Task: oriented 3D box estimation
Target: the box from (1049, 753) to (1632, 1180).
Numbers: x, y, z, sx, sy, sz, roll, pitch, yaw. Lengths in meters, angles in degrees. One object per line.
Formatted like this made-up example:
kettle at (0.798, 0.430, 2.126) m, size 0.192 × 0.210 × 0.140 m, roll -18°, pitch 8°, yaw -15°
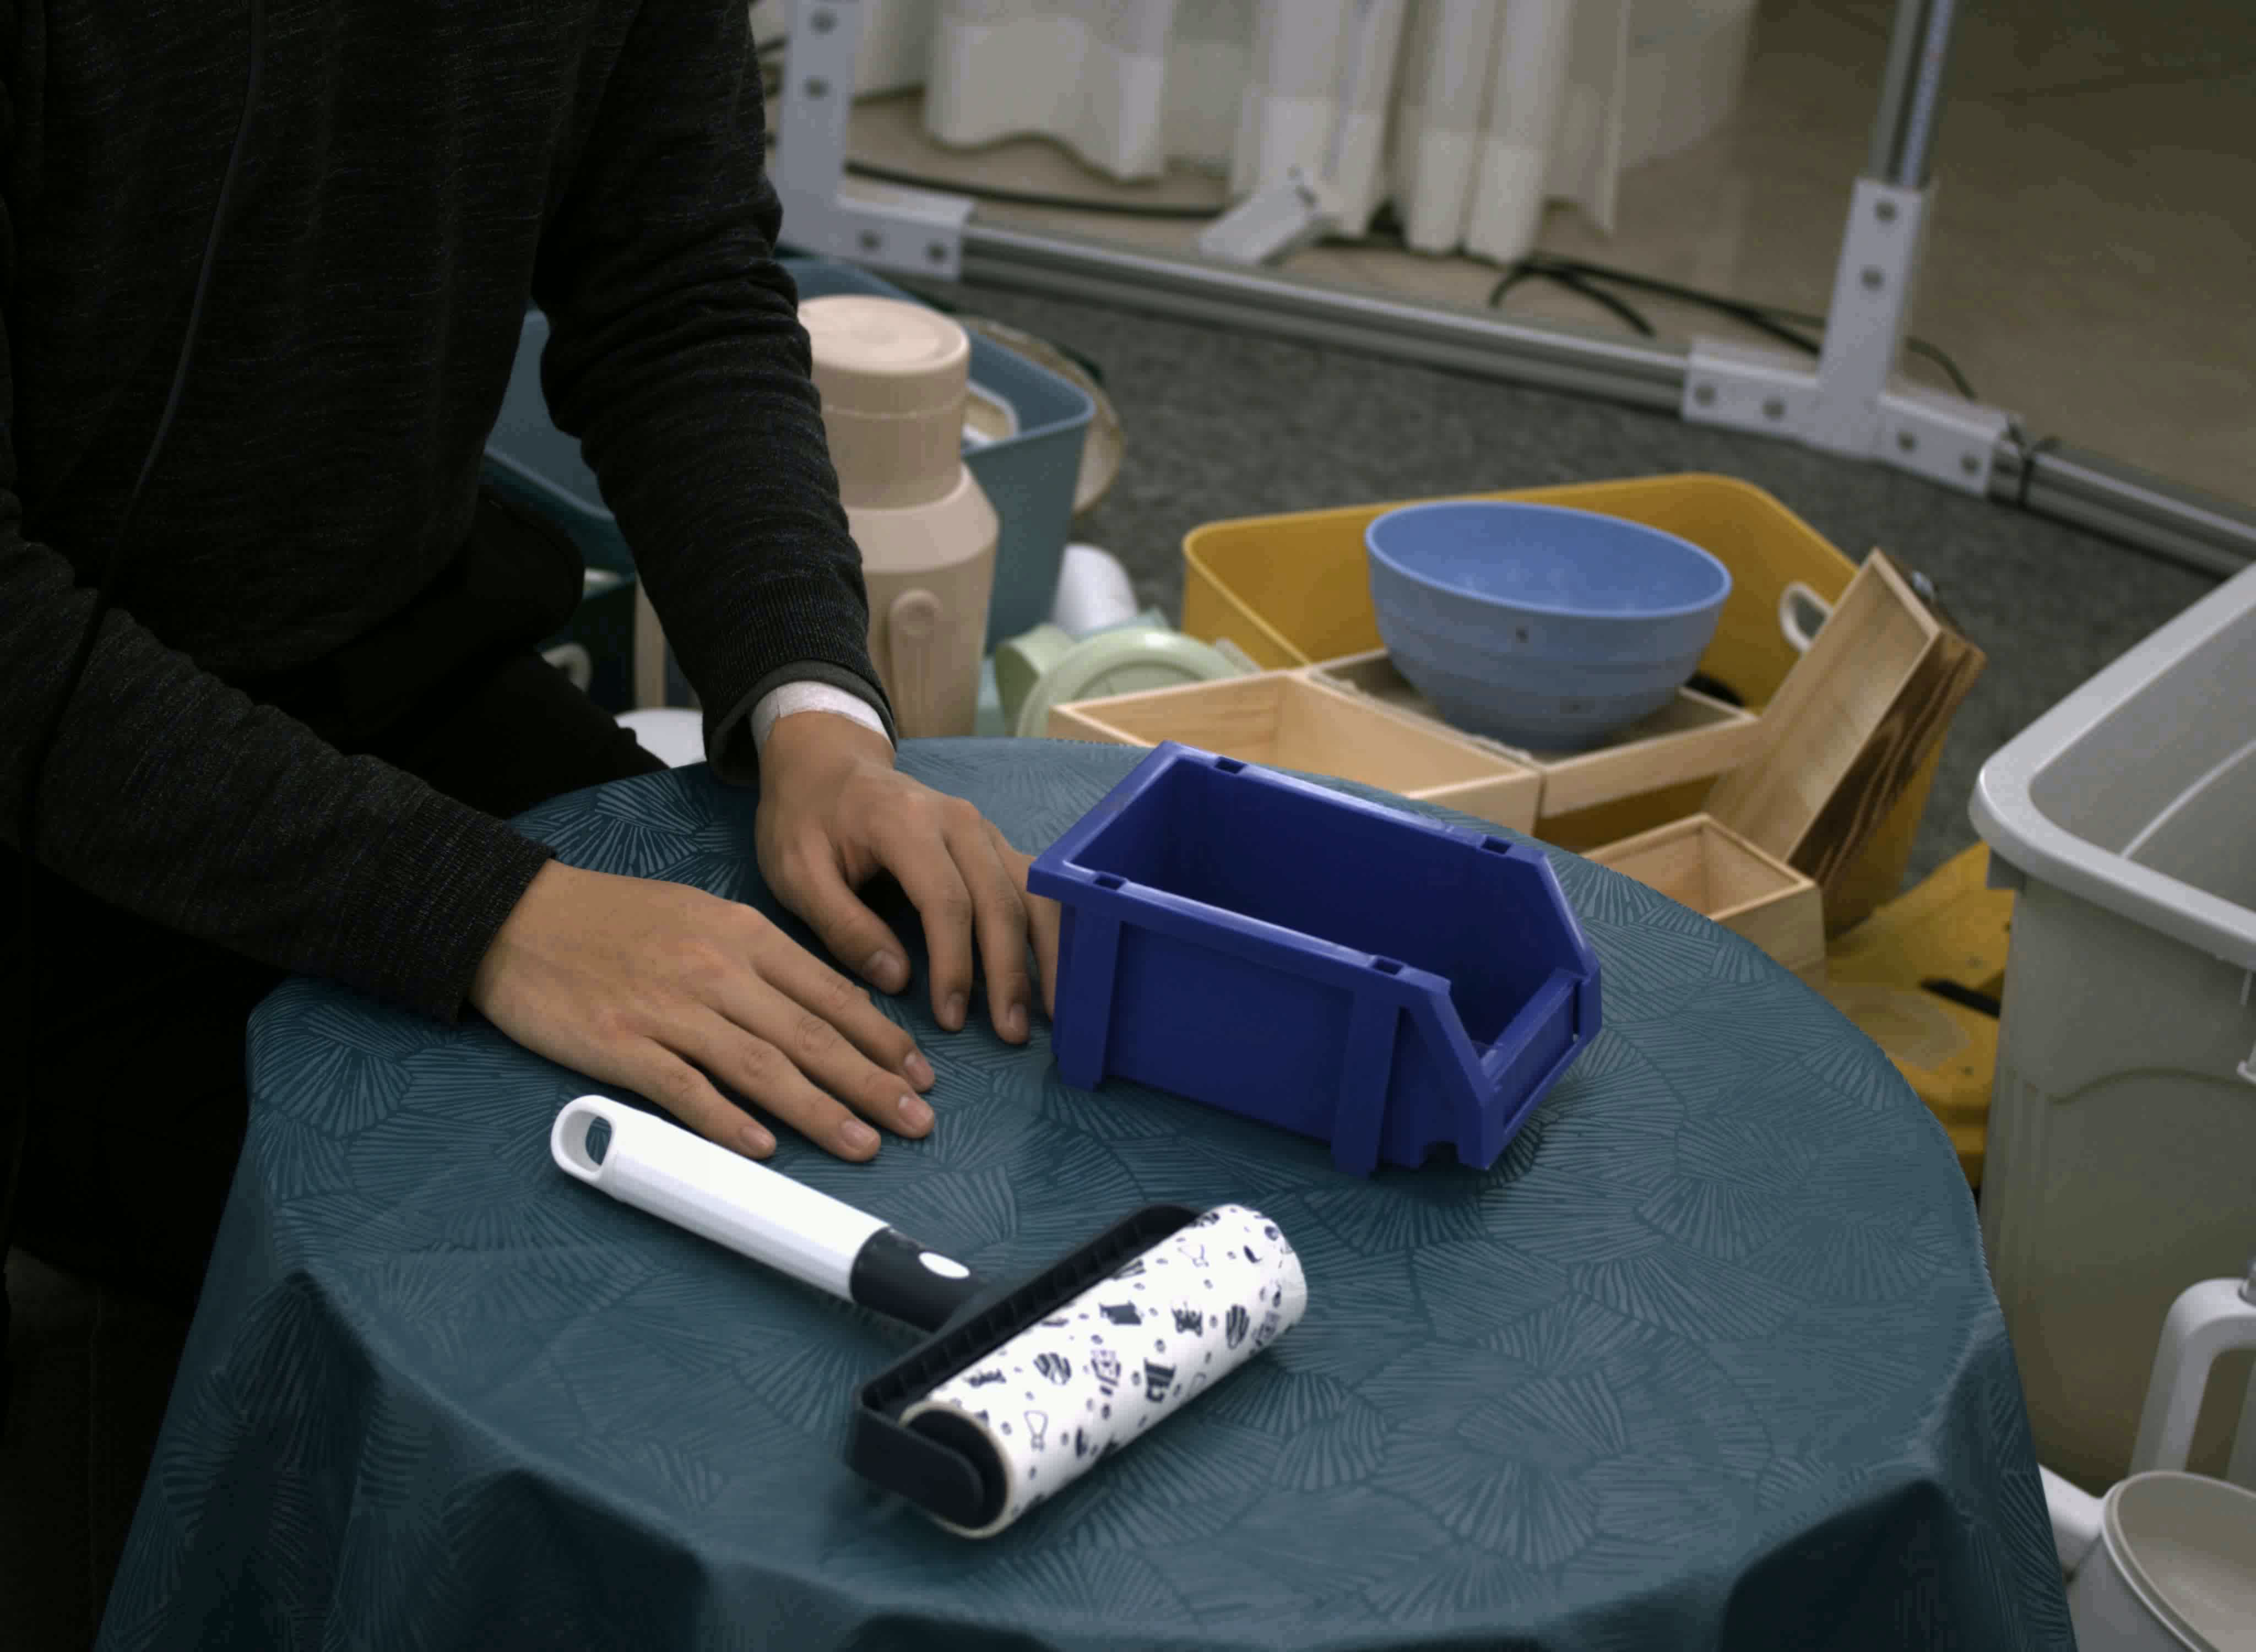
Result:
box at (0.076, 0.052, 1.870) m, size 0.180 × 0.081 × 0.124 m, roll 15°, pitch 27°, yaw 21°

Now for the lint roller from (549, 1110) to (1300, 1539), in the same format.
lint roller at (-0.090, 0.137, 1.709) m, size 0.248 × 0.050 × 0.176 m, roll 22°, pitch 31°, yaw 29°
